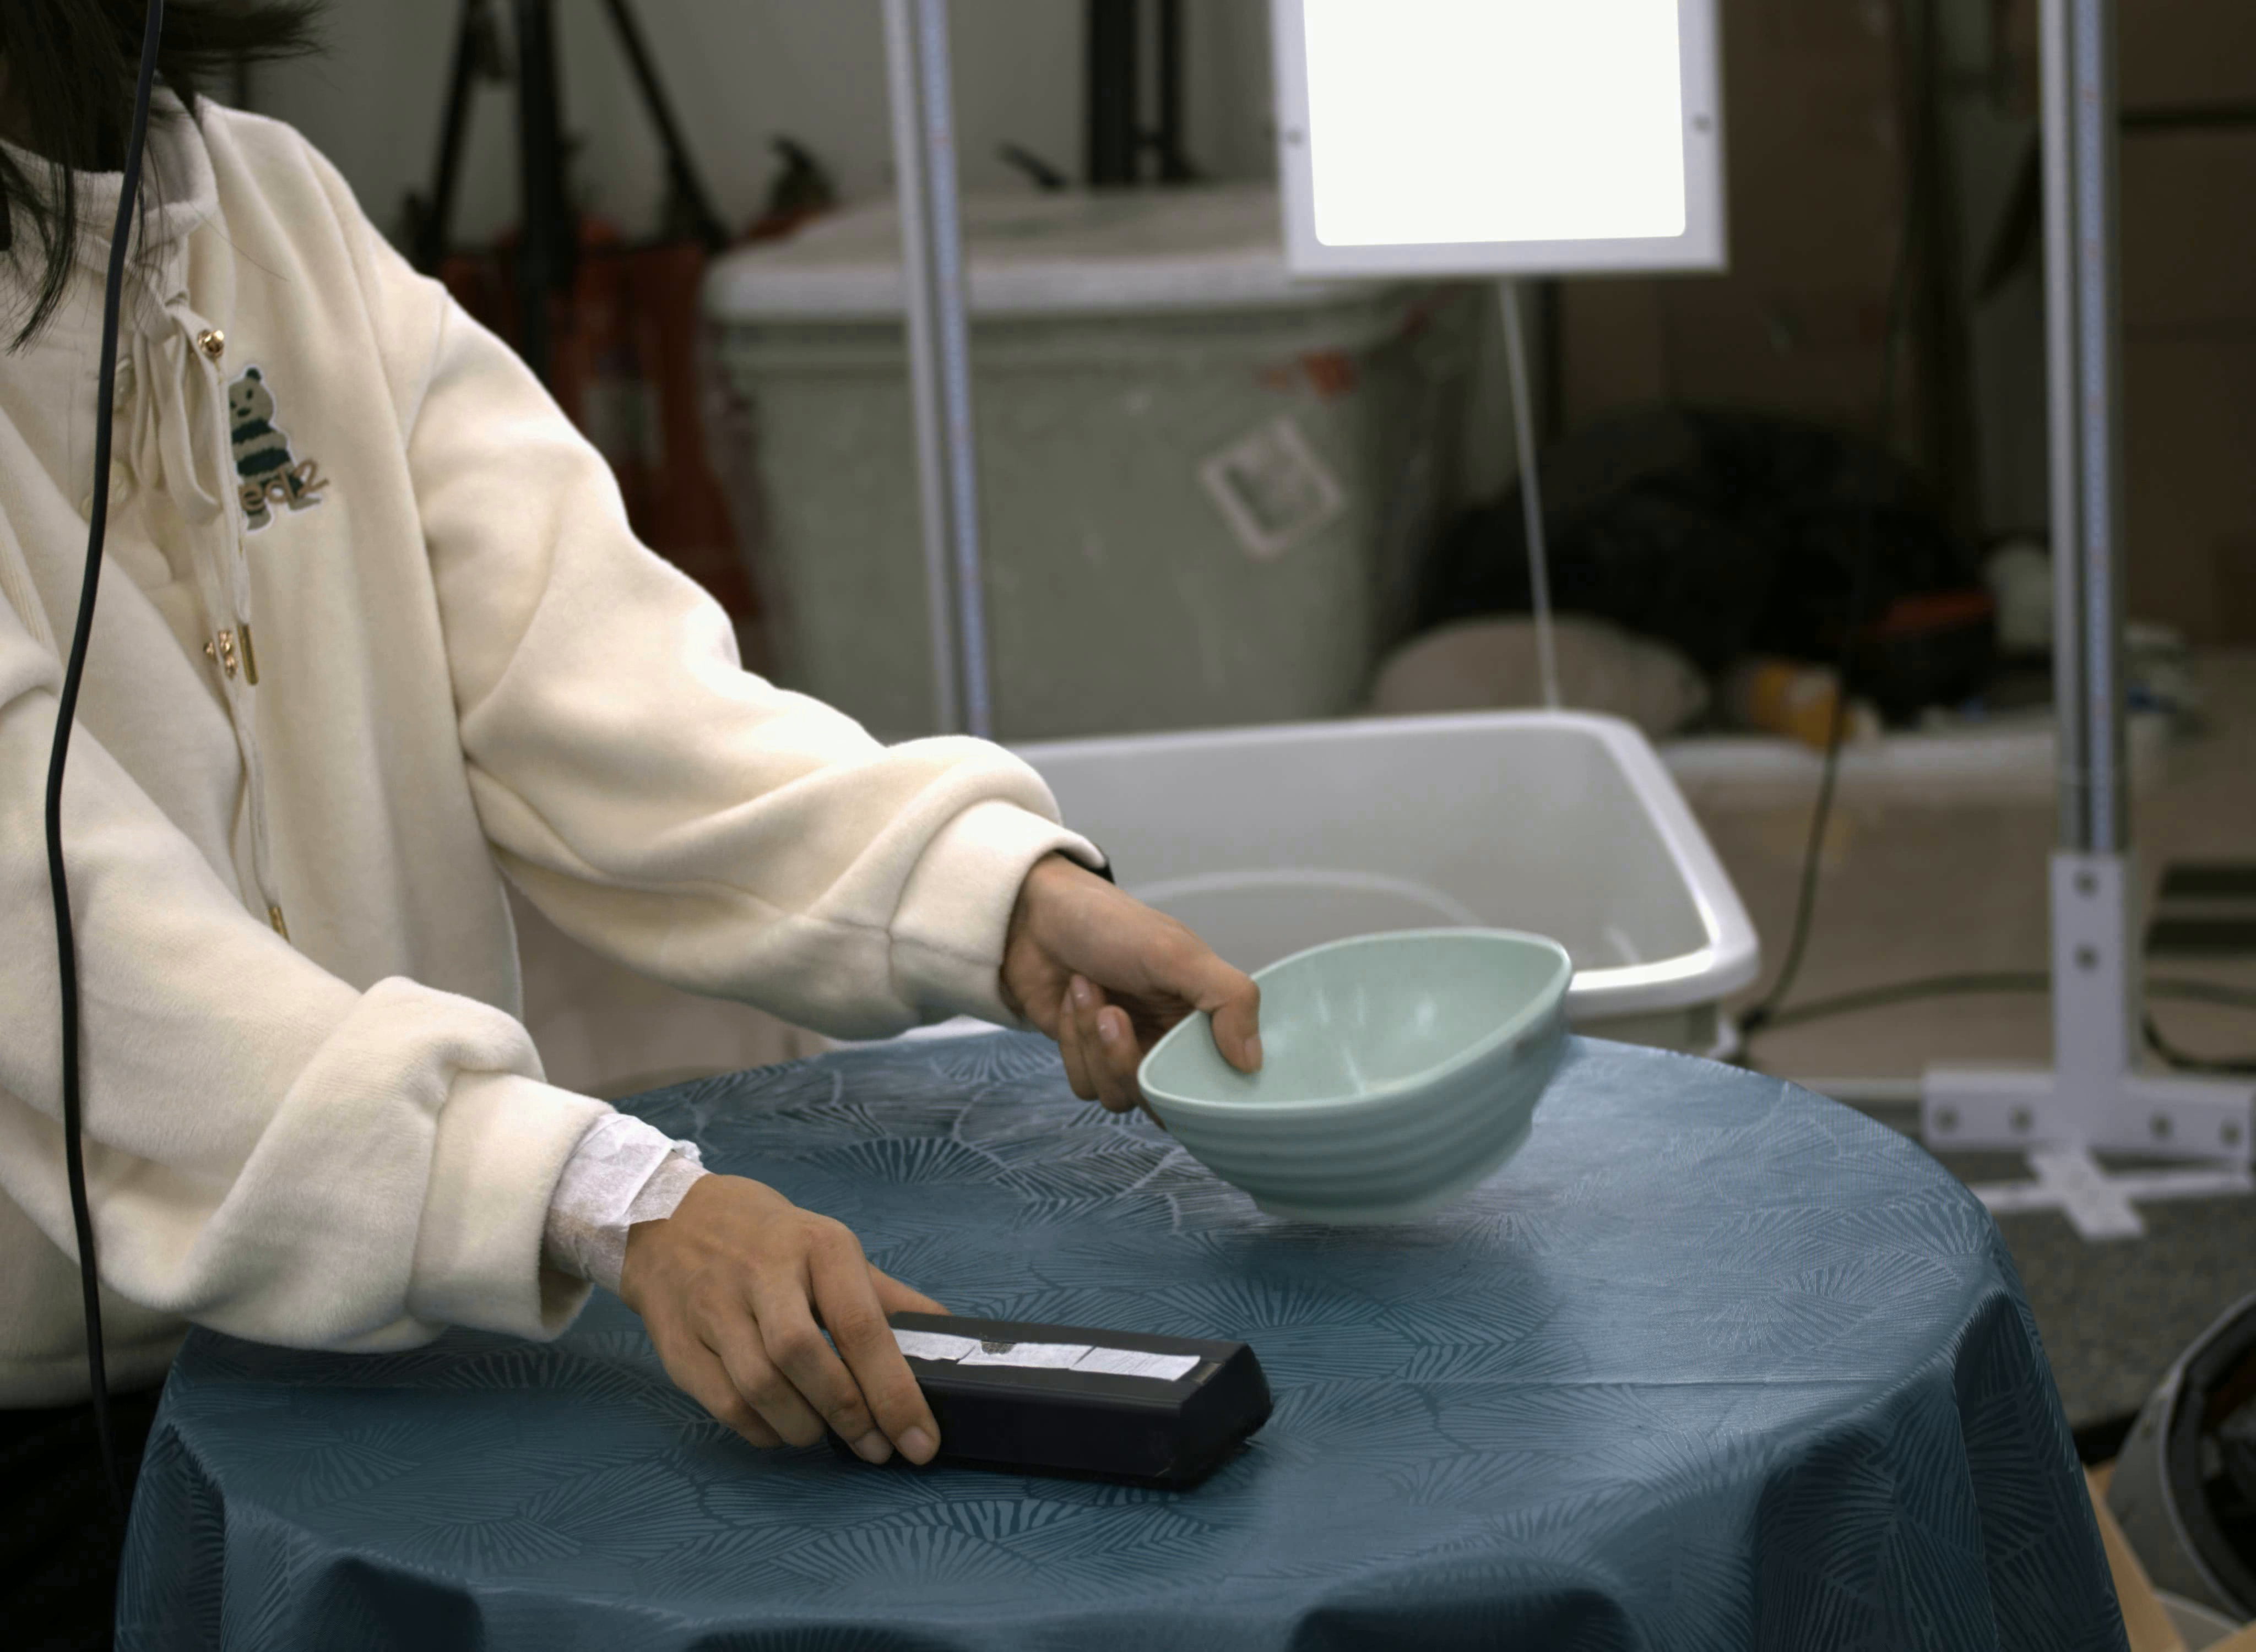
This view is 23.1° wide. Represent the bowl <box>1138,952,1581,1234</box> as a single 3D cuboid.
[{"bbox_3d":[0.082,0.093,1.842,0.151,0.059,0.151,-11,17,2],"label":"bowl"}]

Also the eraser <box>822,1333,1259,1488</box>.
[{"bbox_3d":[-0.025,0.175,1.653,0.128,0.030,0.052,0,16,28],"label":"eraser"}]
